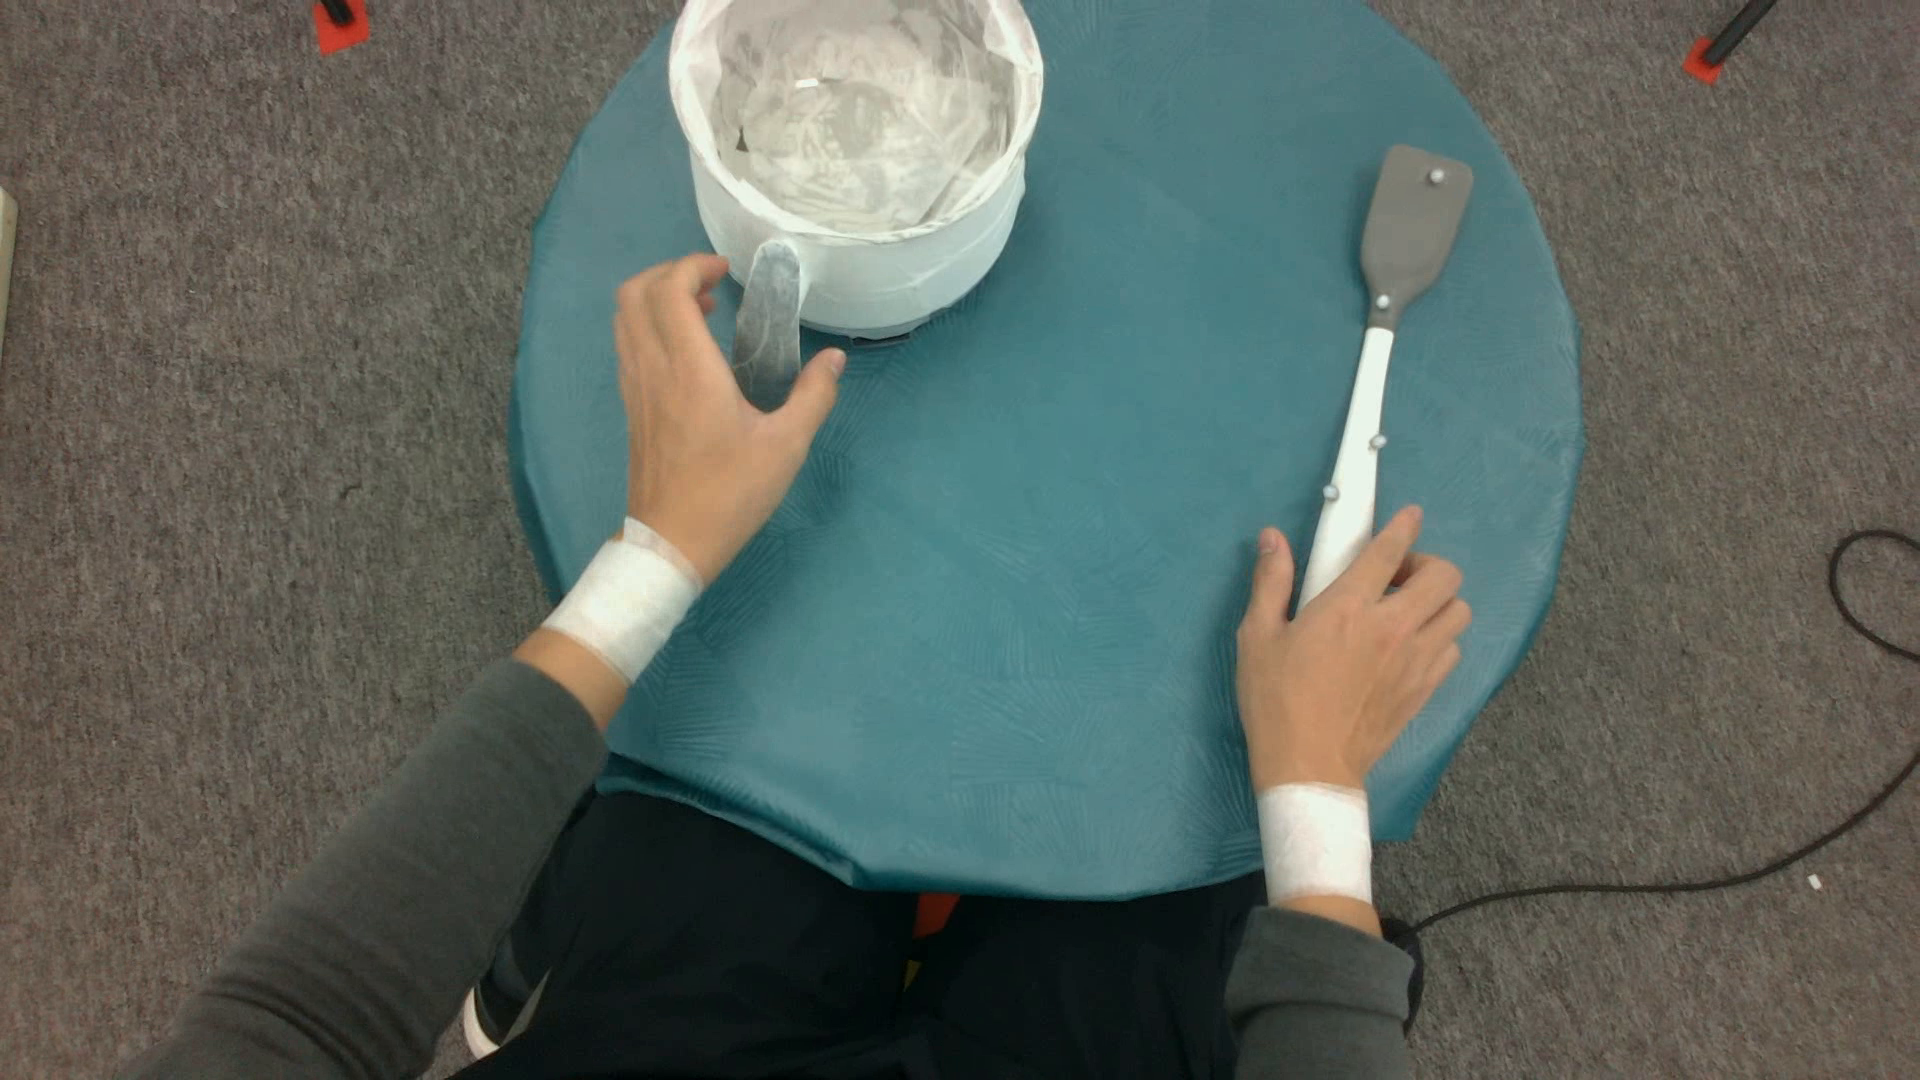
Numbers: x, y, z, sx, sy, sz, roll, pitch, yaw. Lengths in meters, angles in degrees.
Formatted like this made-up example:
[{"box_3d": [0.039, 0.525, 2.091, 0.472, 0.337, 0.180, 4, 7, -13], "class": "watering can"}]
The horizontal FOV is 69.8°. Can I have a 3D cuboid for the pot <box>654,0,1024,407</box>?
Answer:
[{"box_3d": [-0.071, -0.187, 0.713, 0.179, 0.136, 0.234, 19, 75, 0], "class": "pot"}]

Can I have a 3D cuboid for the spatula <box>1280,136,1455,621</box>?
[{"box_3d": [0.224, -0.095, 0.770, 0.058, 0.032, 0.288, 15, 75, 2], "class": "spatula"}]
